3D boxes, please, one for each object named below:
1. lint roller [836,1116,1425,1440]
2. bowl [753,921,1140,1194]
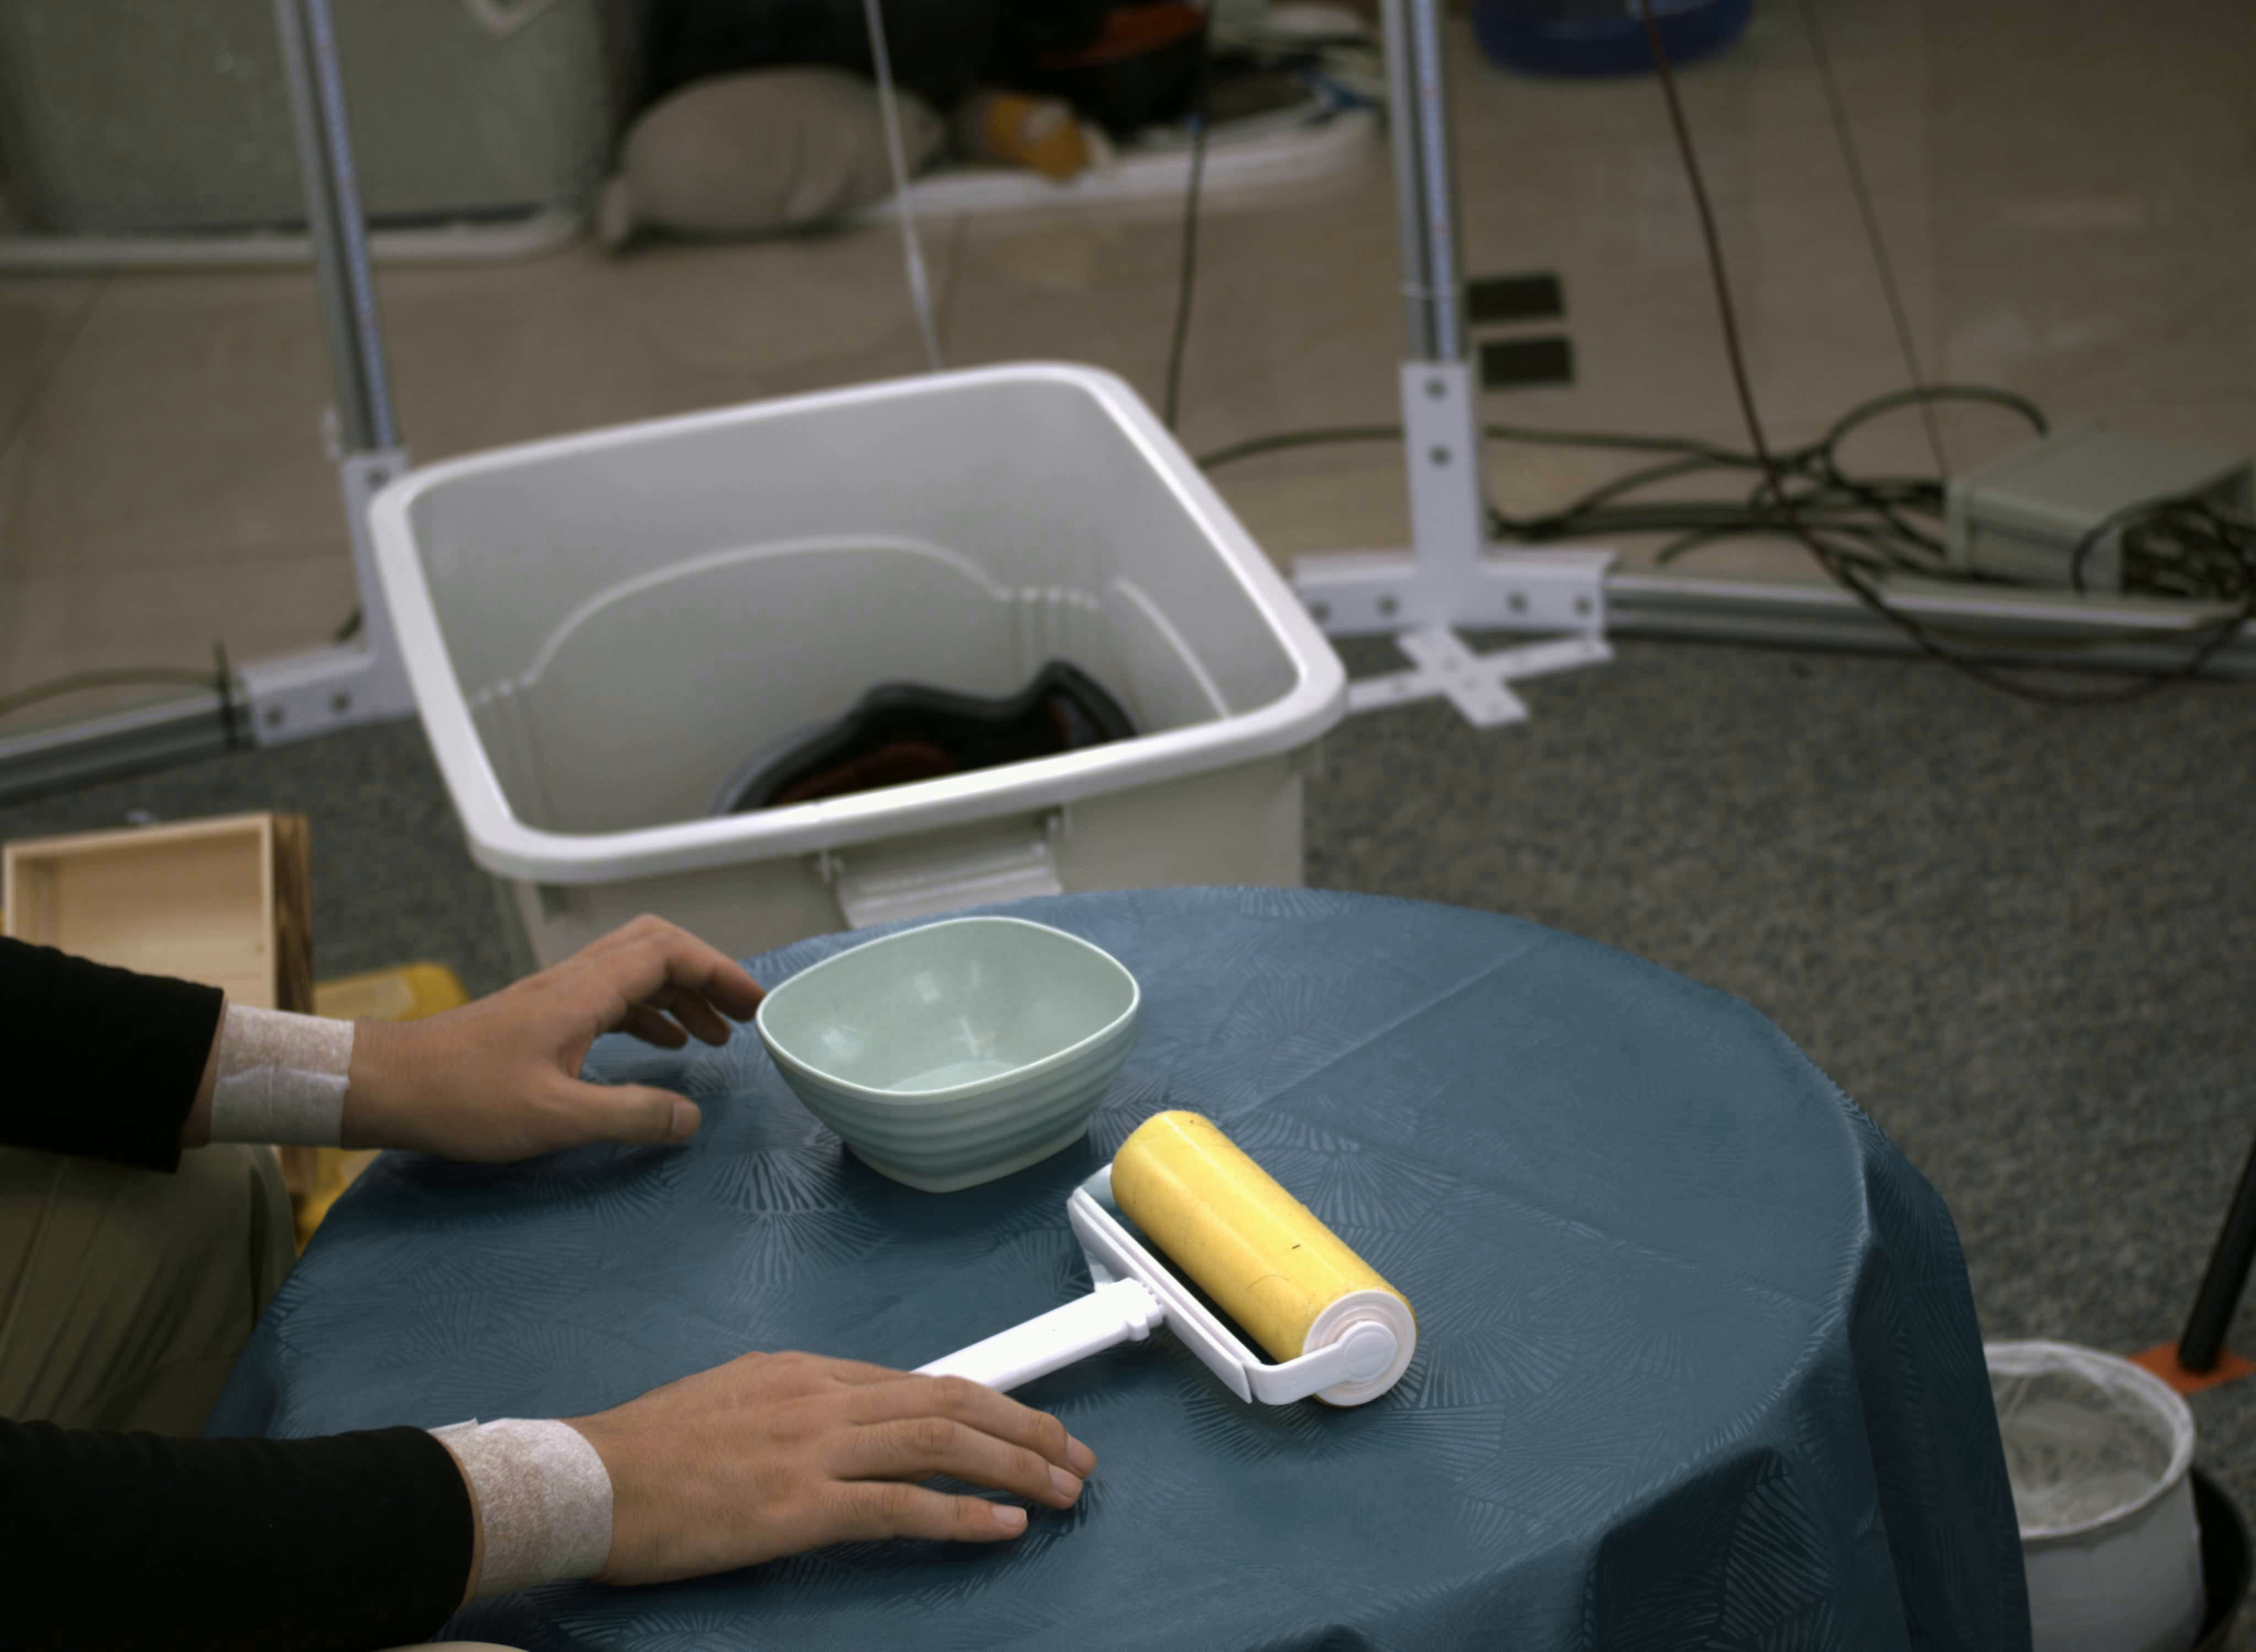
[{"bbox_3d":[-0.016,0.172,2.019,0.191,0.052,0.172,-12,25,-23],"label":"lint roller"},{"bbox_3d":[-0.068,0.095,2.192,0.151,0.059,0.149,-4,25,2],"label":"bowl"}]
